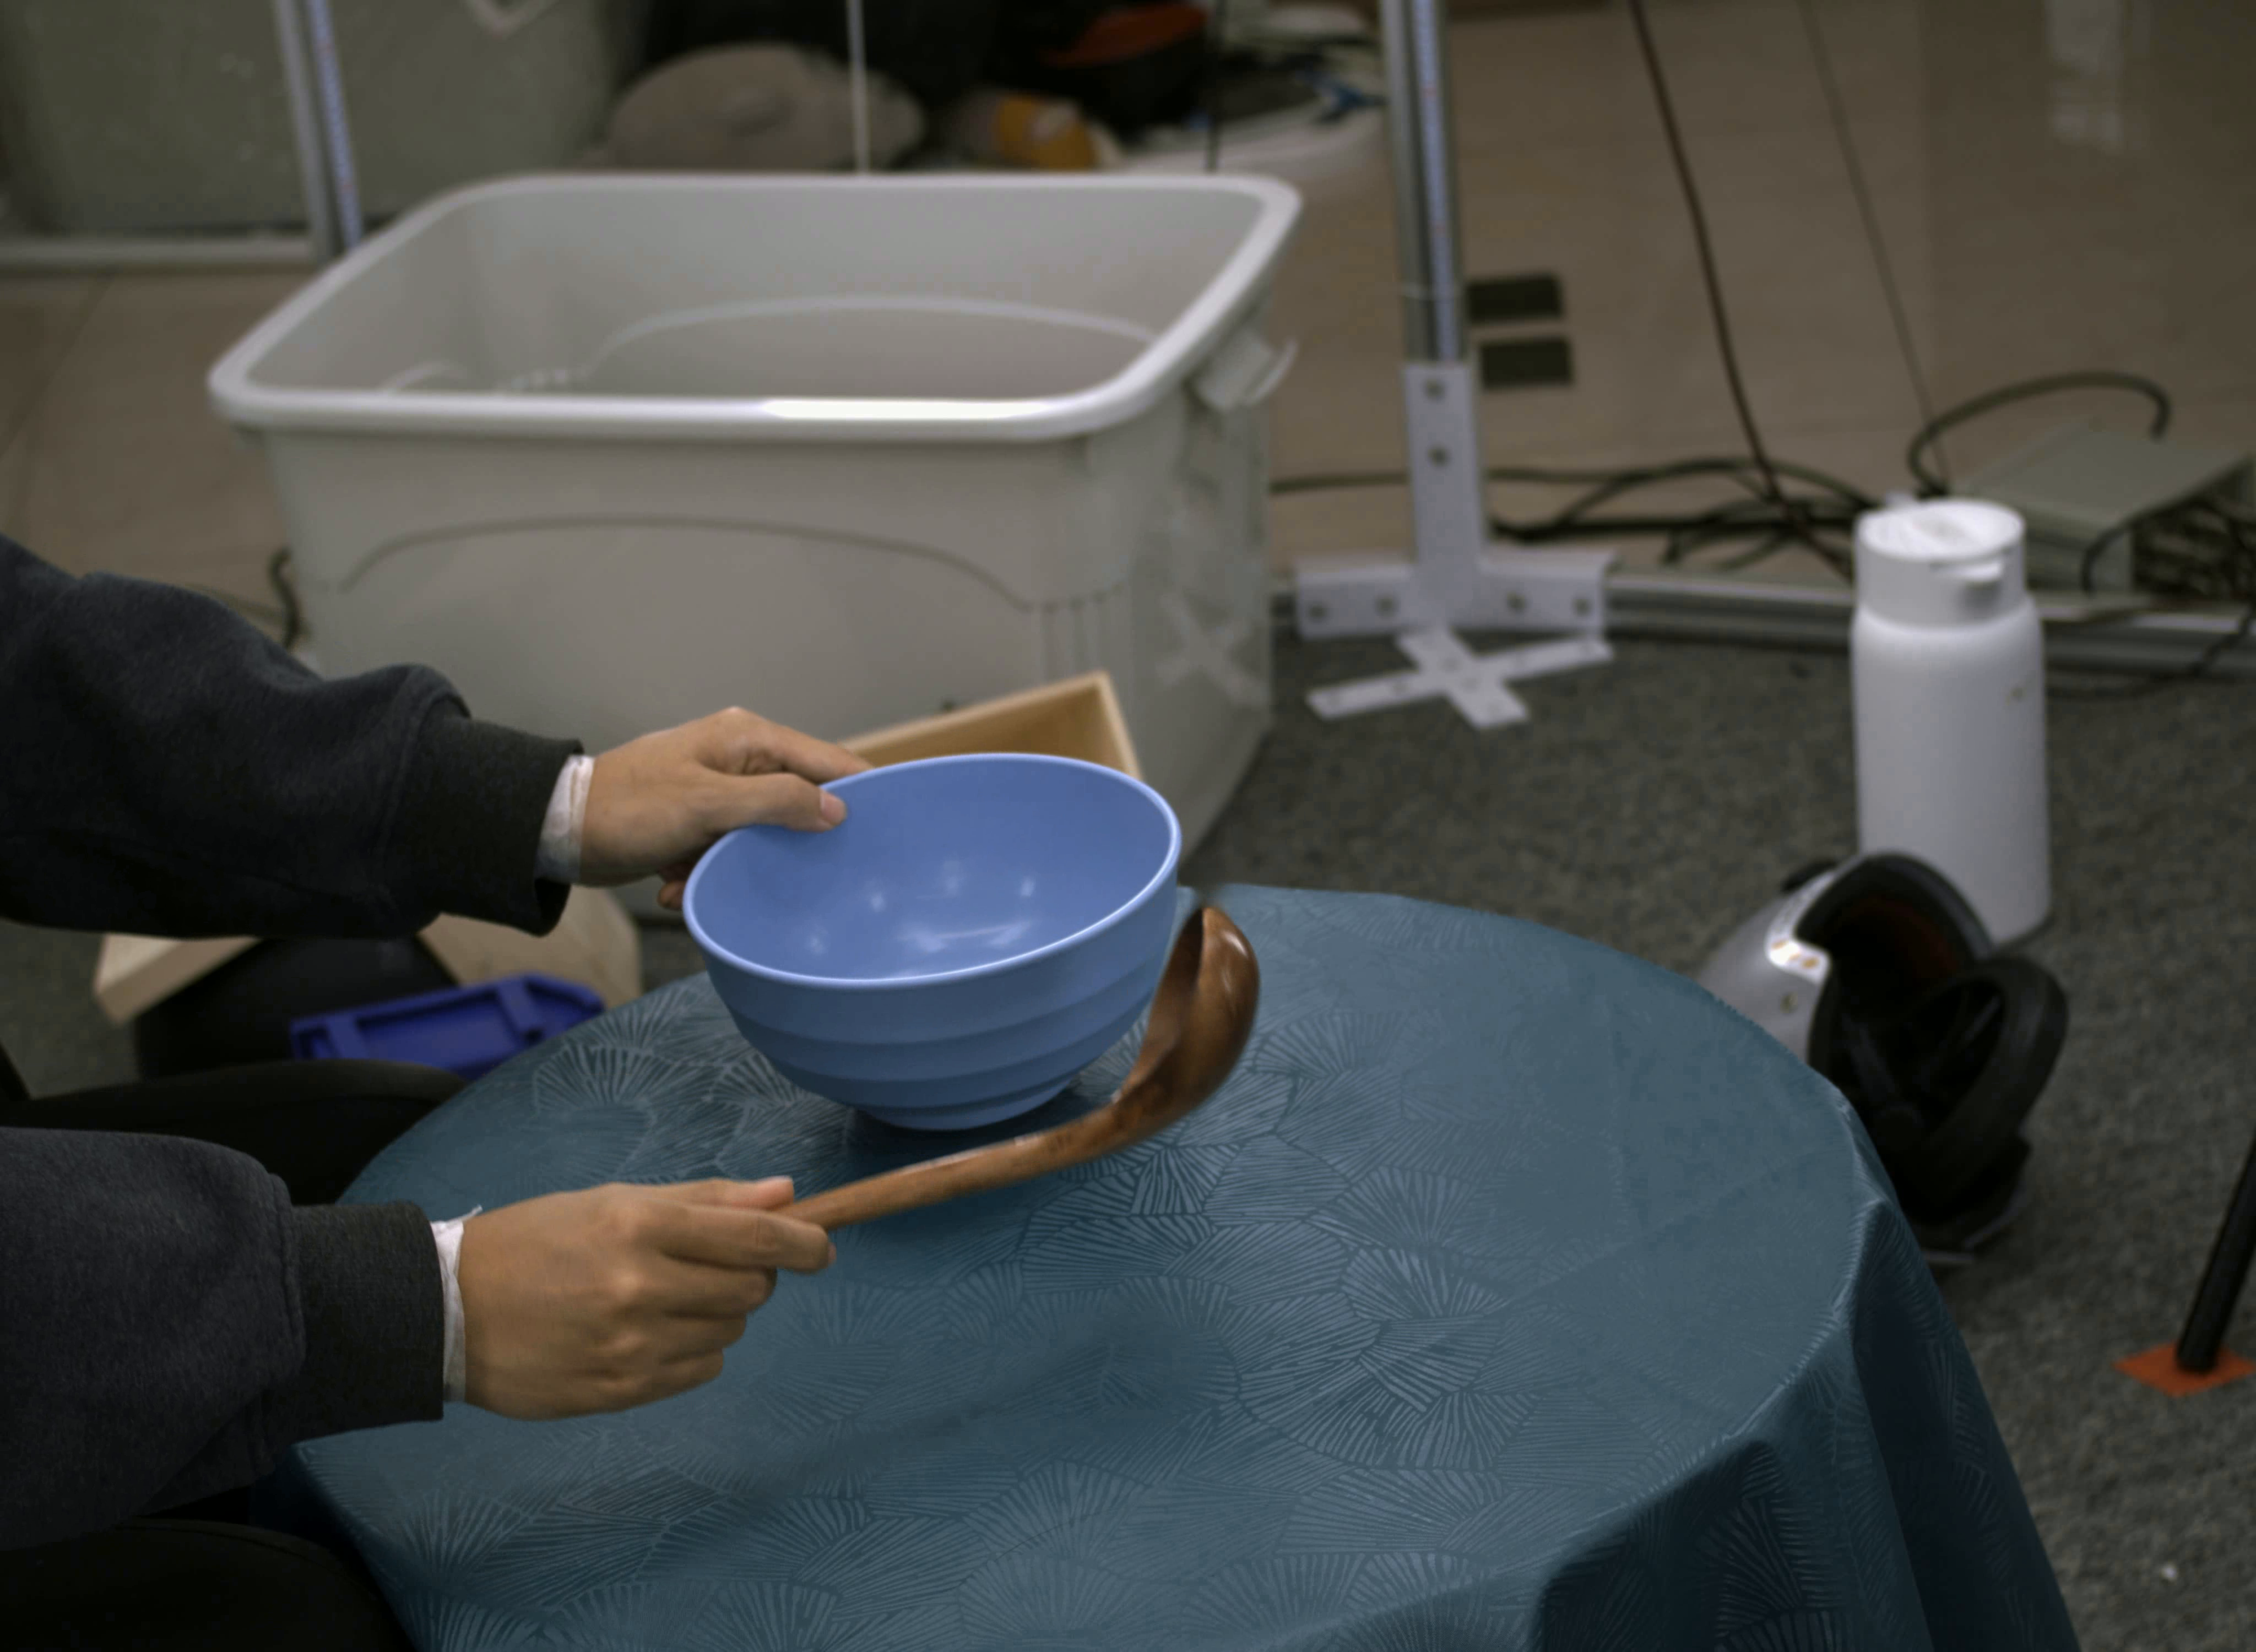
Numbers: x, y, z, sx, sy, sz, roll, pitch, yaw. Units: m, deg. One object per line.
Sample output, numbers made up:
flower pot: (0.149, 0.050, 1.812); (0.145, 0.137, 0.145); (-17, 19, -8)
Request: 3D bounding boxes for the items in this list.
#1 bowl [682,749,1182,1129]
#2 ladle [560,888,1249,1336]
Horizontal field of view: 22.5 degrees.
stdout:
bowl: (-0.070, 0.055, 2.215); (0.196, 0.097, 0.193); (-7, 27, 4)
ladle: (-0.080, 0.097, 1.988); (0.273, 0.076, 0.082); (-19, -9, -13)
